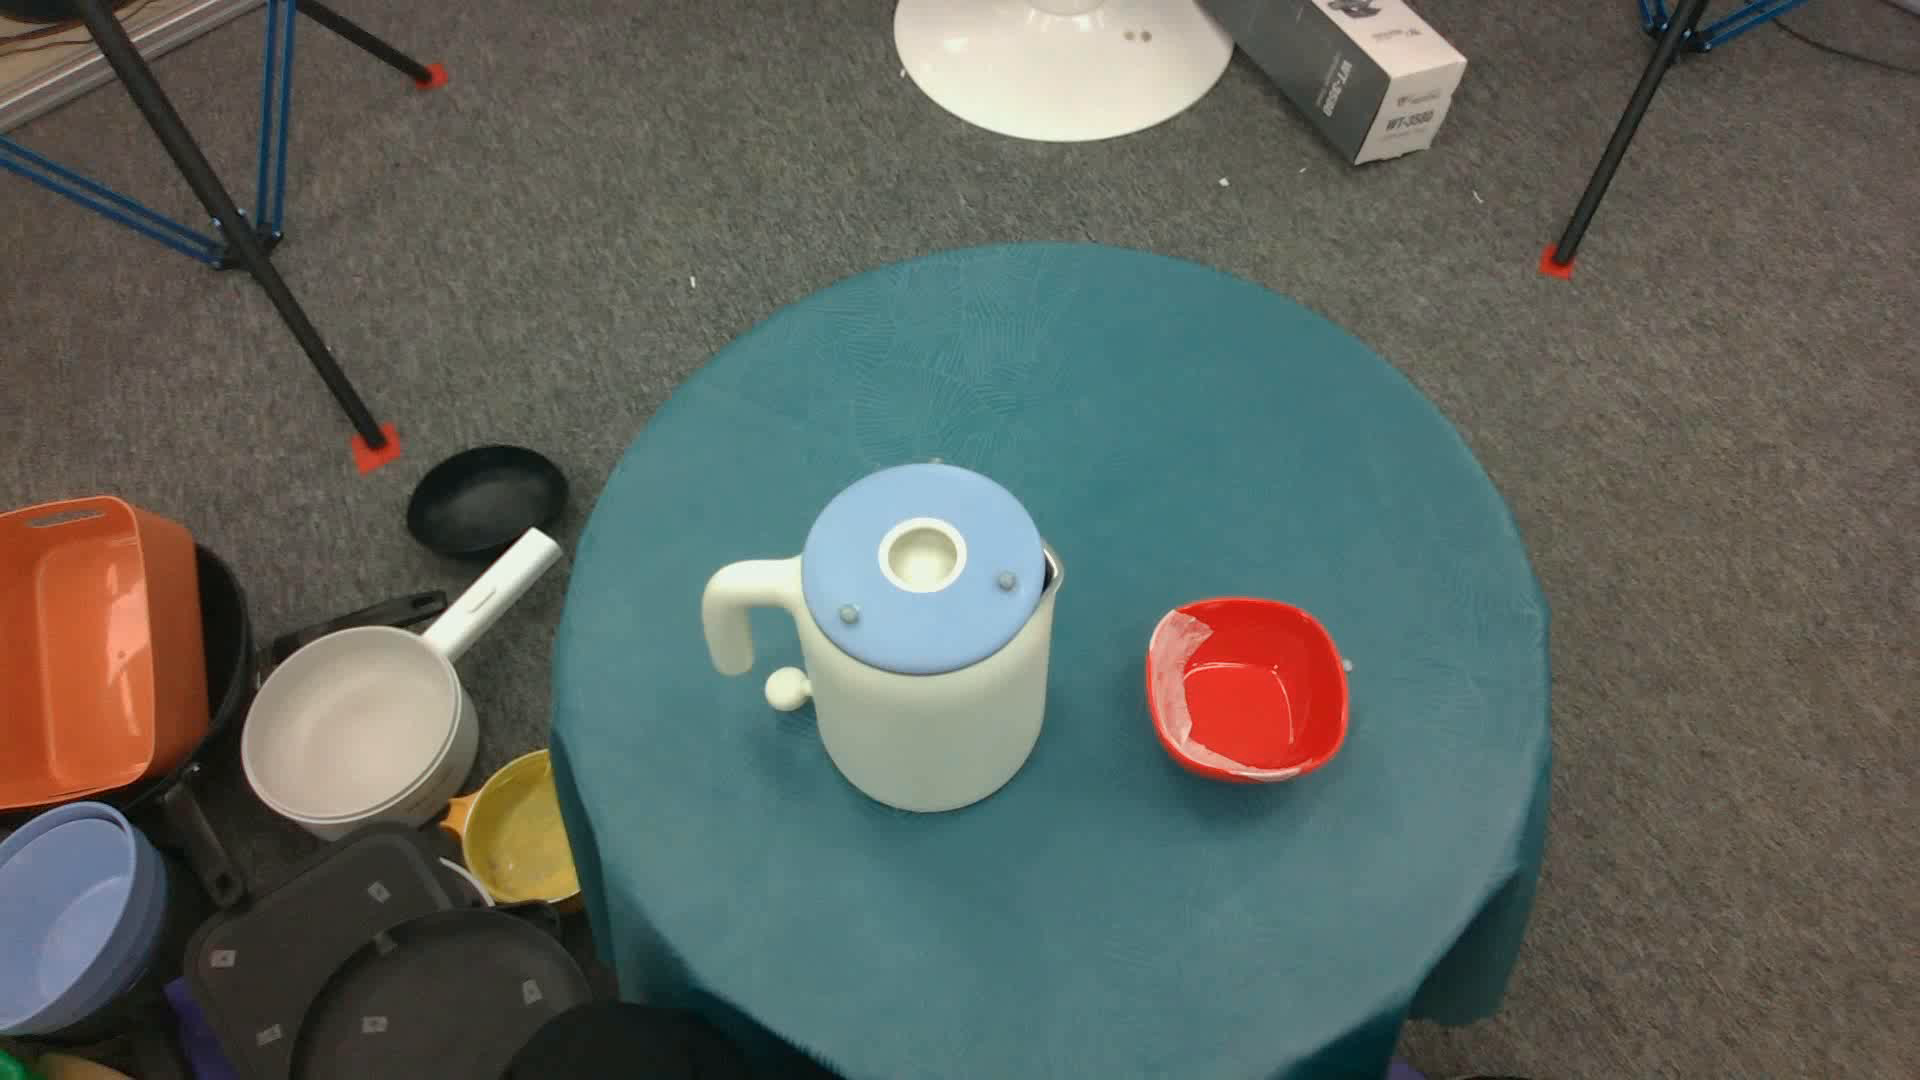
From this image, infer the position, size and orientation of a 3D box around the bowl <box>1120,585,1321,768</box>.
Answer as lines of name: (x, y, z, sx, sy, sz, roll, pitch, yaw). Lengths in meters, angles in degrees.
bowl: (0.143, 0.085, 0.778, 0.119, 0.051, 0.119, 1, 55, -2)

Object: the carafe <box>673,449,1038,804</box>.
carafe: (-0.055, 0.049, 0.730, 0.191, 0.182, 0.133, 0, 56, 2)
